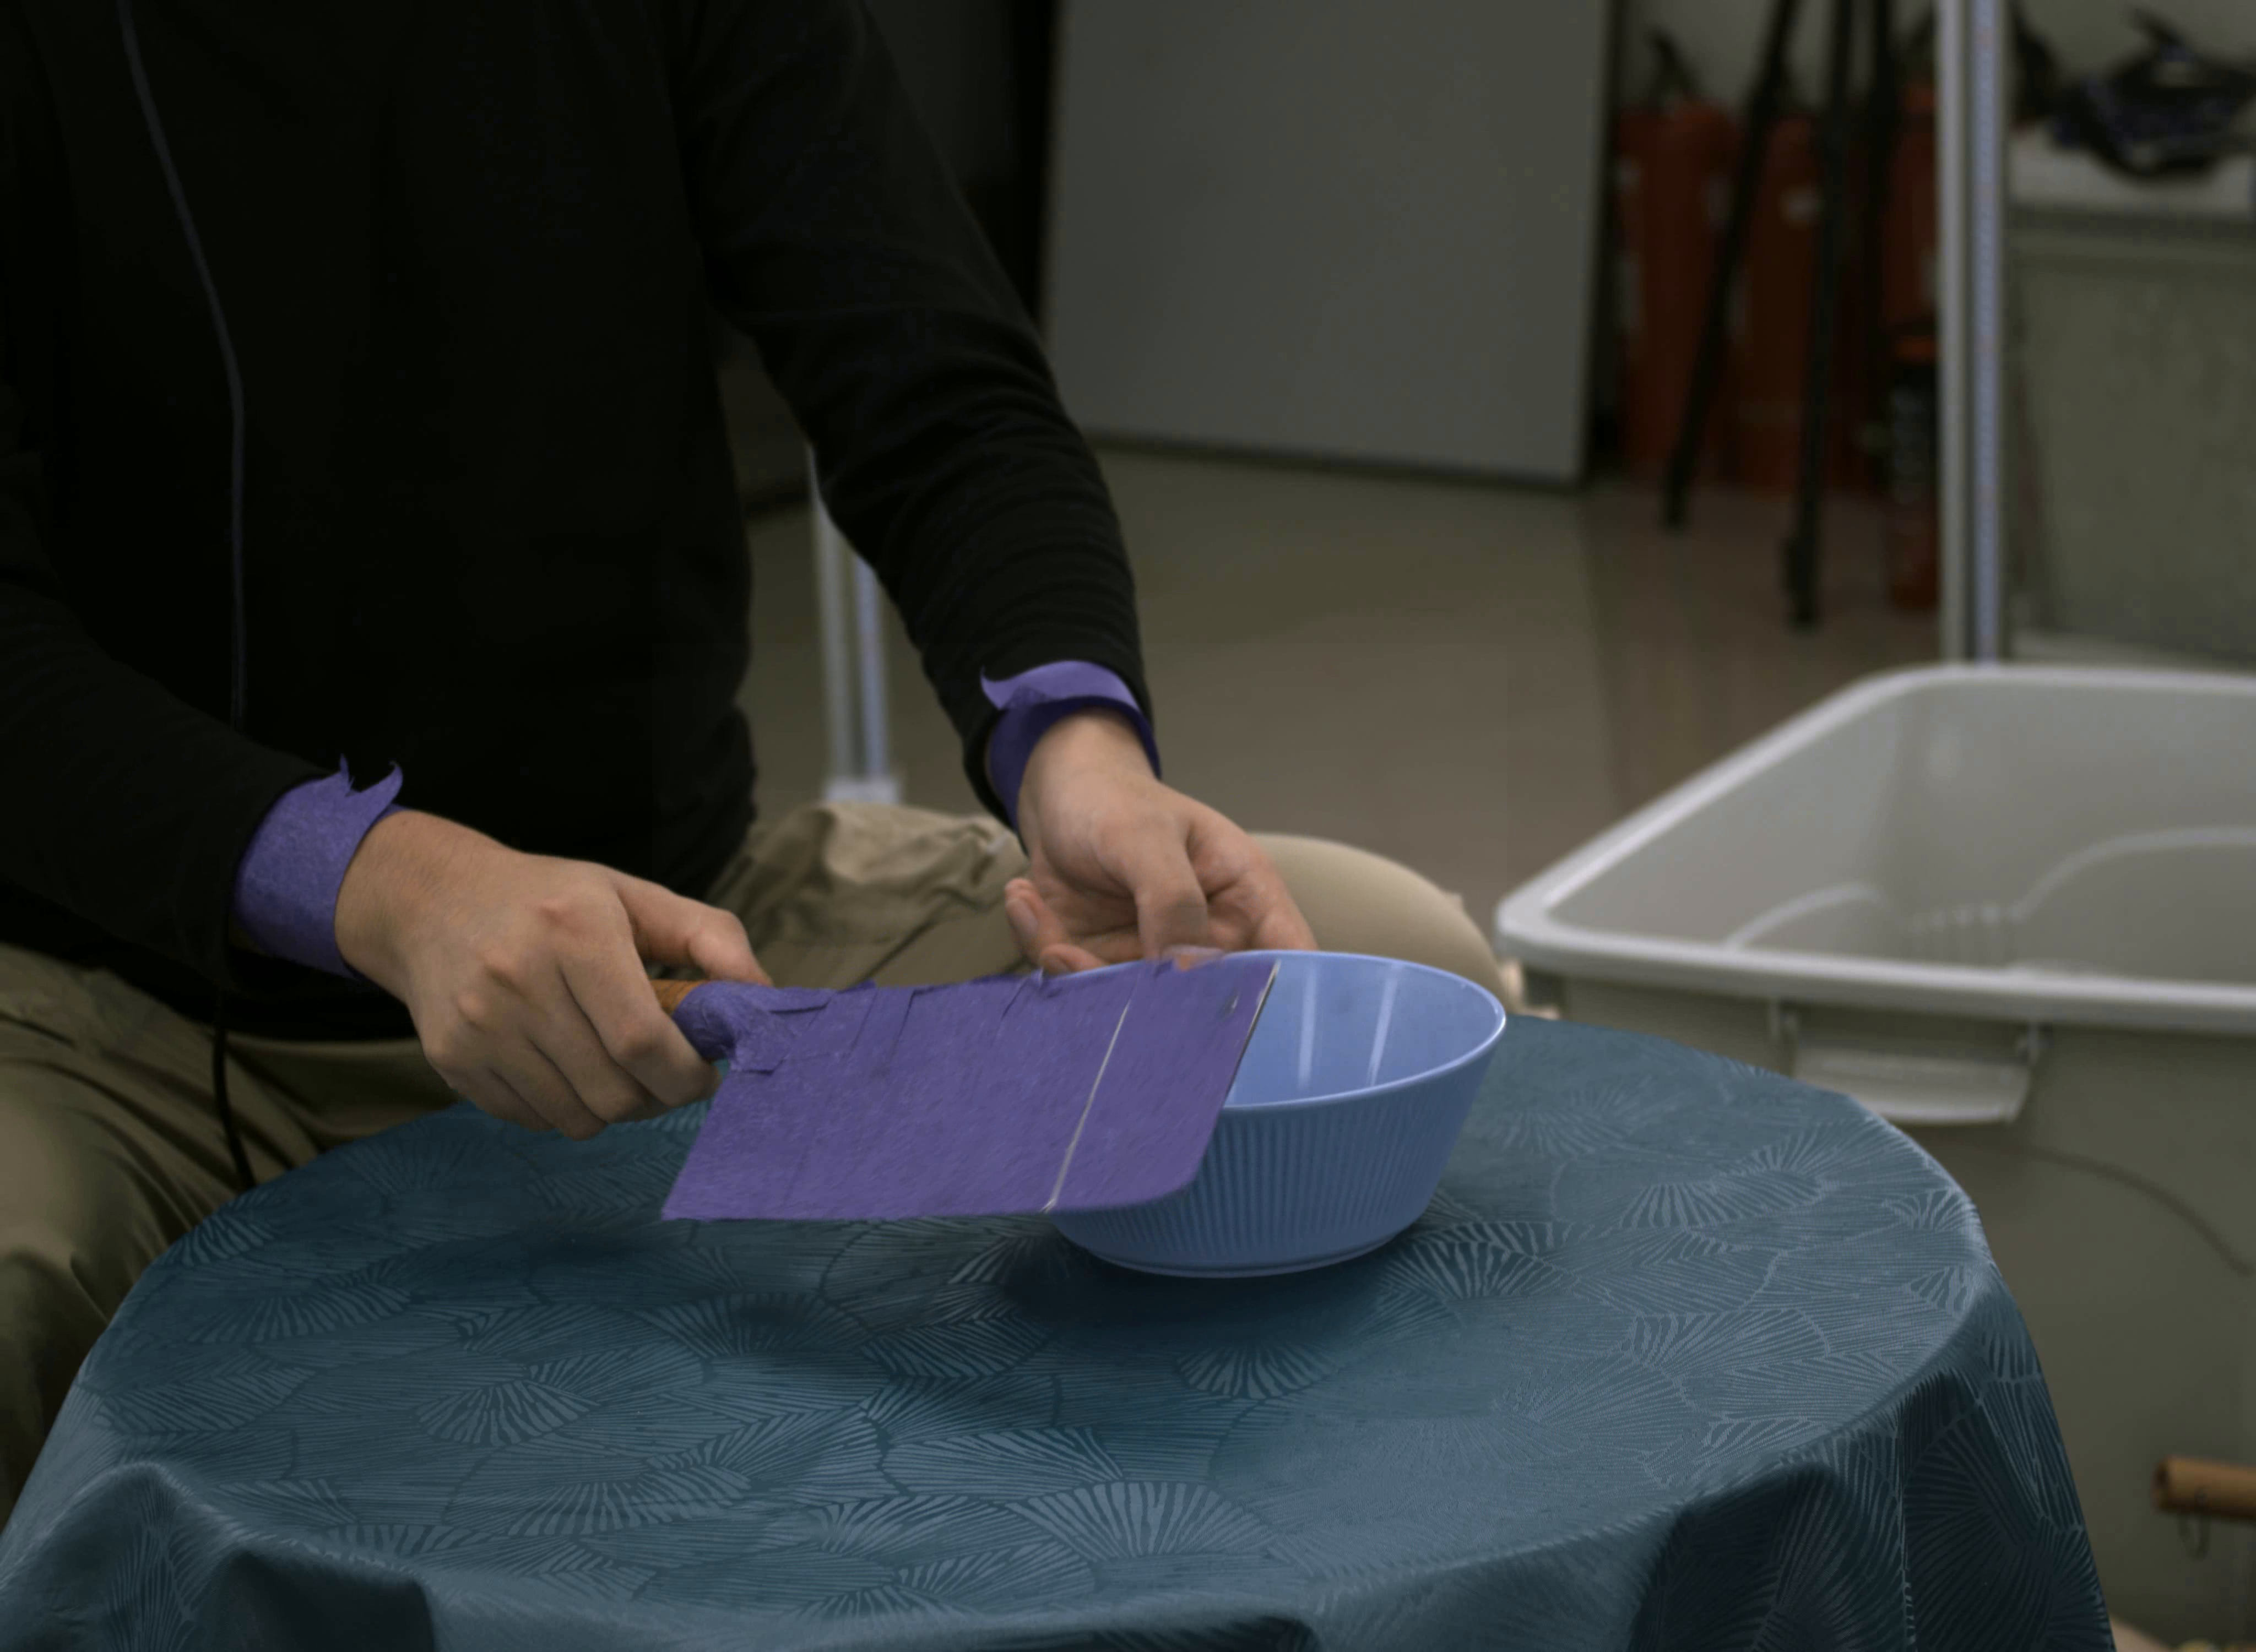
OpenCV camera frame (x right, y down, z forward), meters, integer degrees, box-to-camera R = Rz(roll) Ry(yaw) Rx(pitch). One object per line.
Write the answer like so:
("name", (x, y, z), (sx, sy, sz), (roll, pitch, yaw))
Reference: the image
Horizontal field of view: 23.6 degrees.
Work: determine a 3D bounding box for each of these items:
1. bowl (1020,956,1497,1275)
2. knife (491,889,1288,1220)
("bowl", (0.033, 0.094, 1.722), (0.174, 0.071, 0.176), (-4, 13, 0))
("knife", (-0.089, 0.077, 1.665), (0.317, 0.032, 0.104), (-10, 45, 39))
